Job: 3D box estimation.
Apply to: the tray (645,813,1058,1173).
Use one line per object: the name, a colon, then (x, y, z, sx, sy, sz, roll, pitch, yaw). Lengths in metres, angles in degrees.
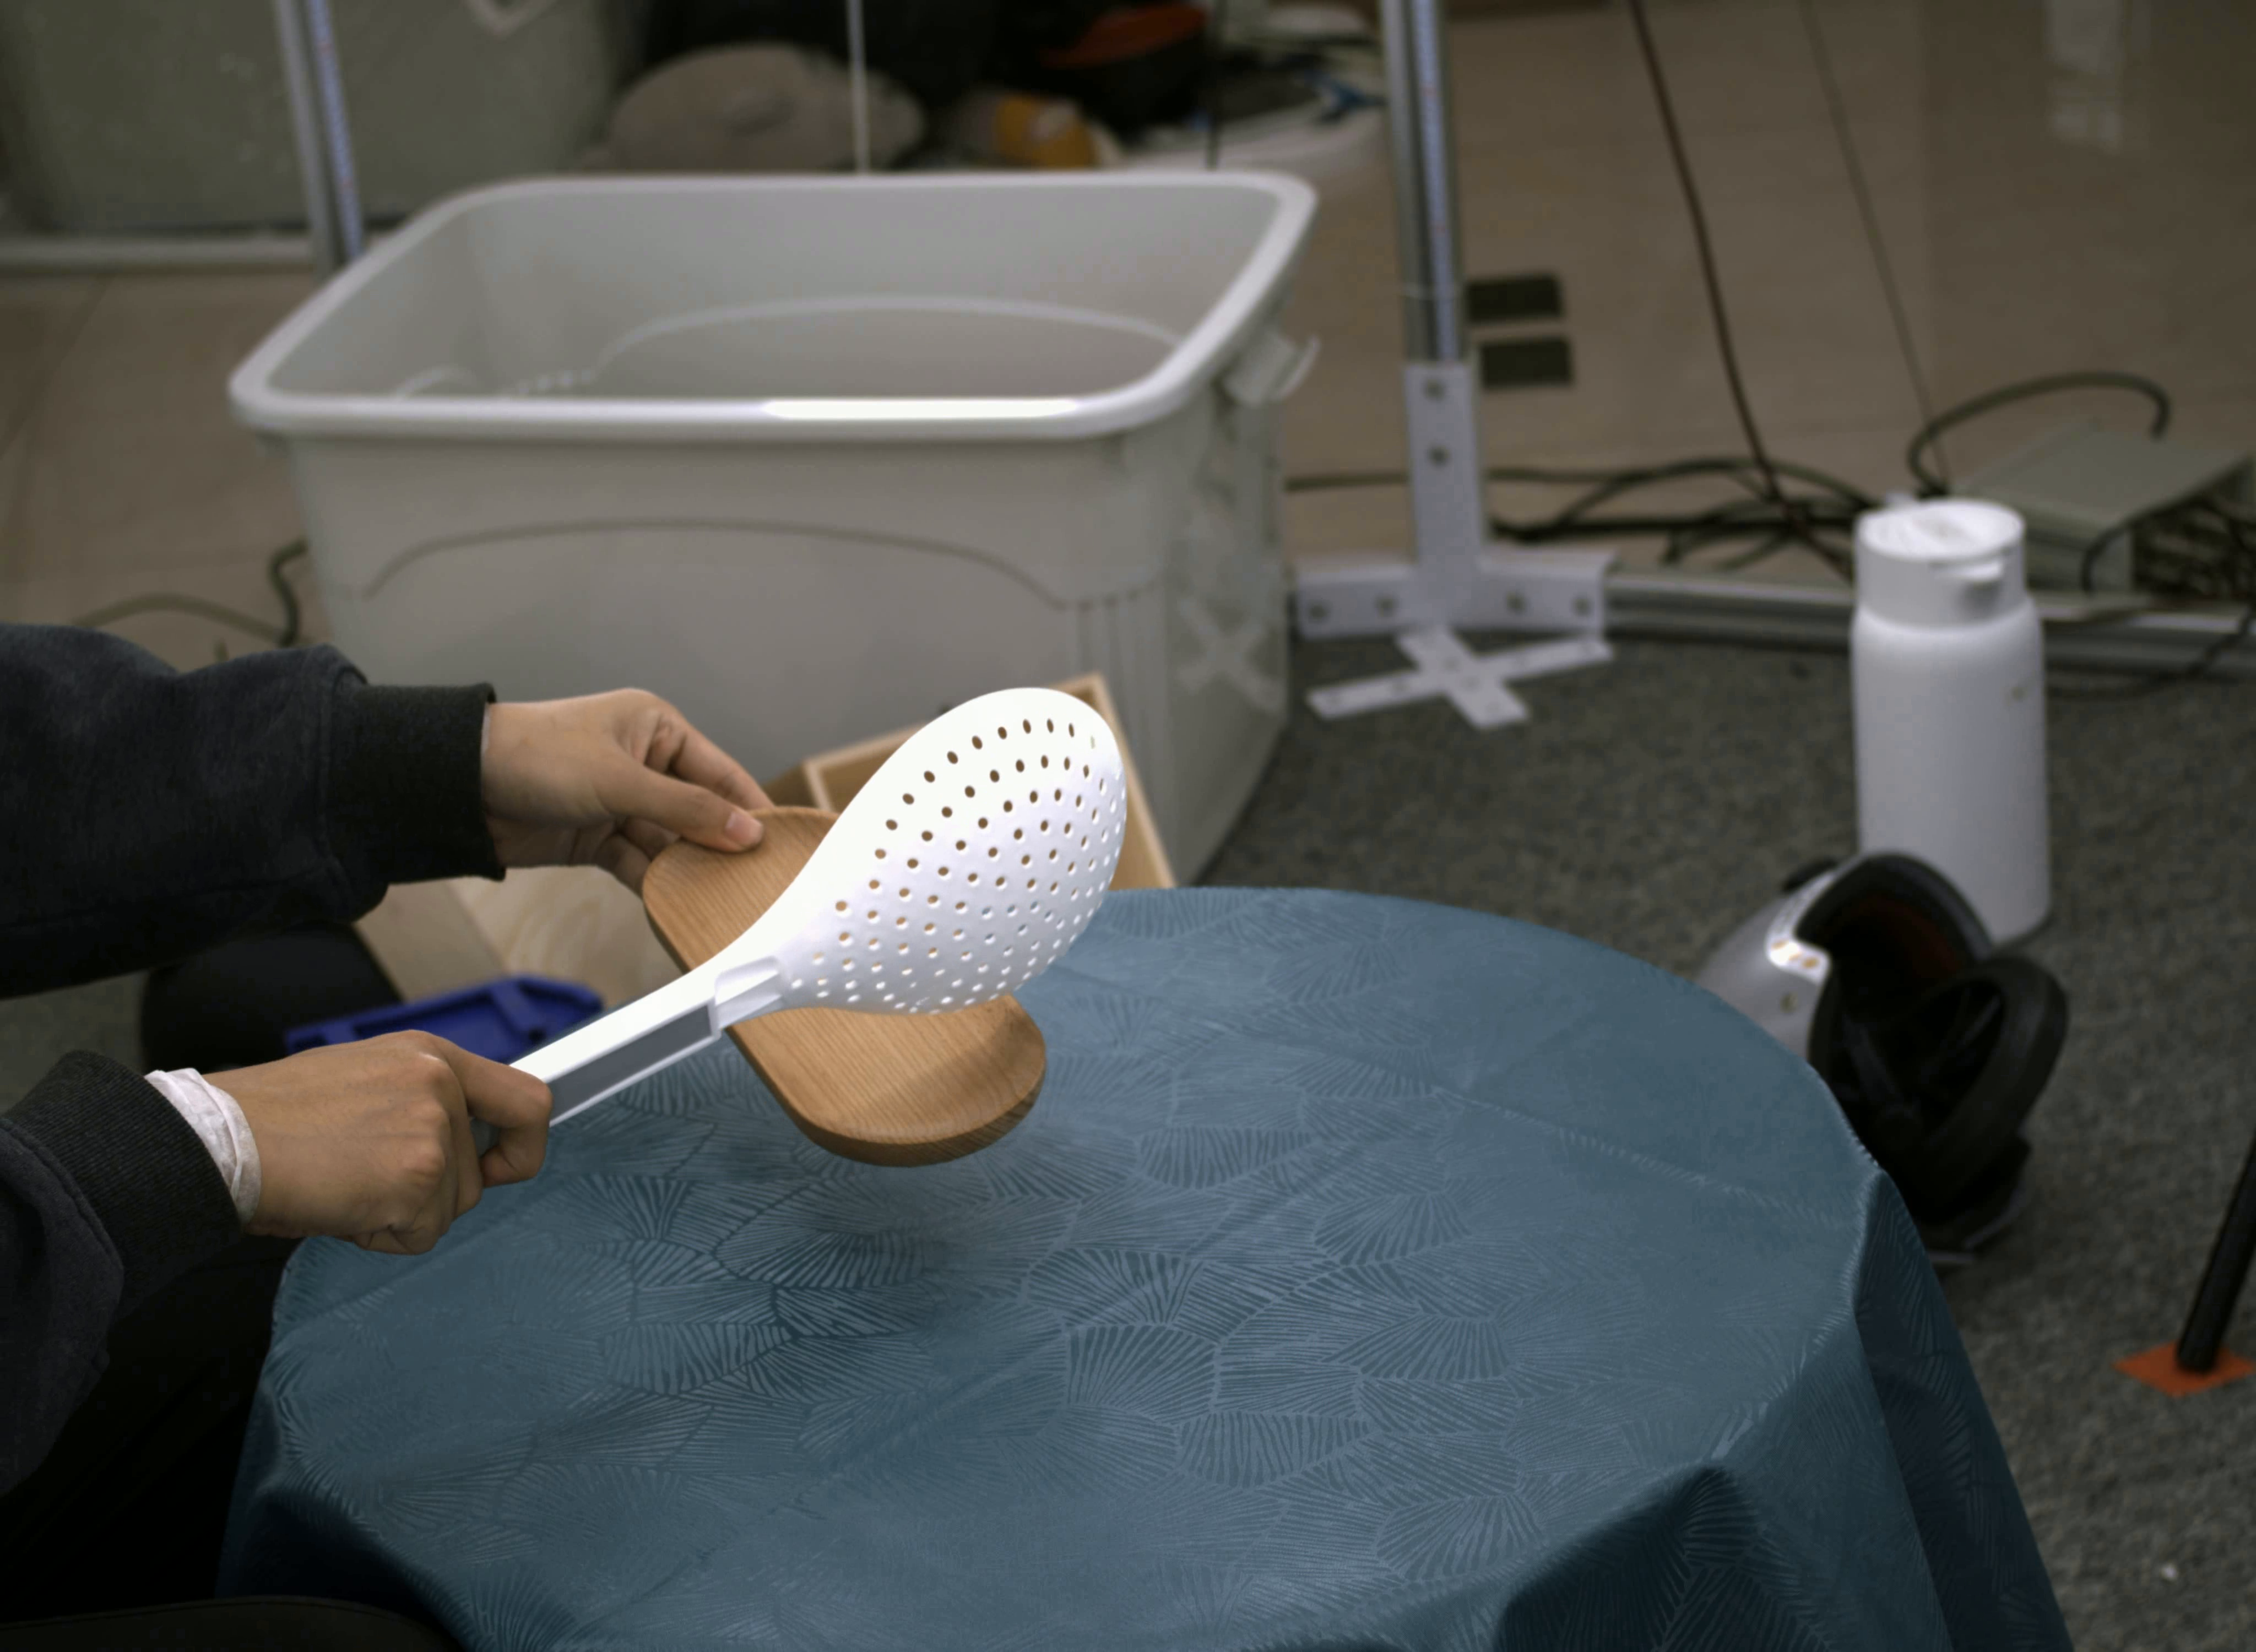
tray: (-0.106, 0.061, 2.146, 0.101, 0.021, 0.228, -20, 40, -19)

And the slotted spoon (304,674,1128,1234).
slotted spoon: (-0.139, 0.055, 2.014, 0.348, 0.139, 0.045, -24, 42, -20)
